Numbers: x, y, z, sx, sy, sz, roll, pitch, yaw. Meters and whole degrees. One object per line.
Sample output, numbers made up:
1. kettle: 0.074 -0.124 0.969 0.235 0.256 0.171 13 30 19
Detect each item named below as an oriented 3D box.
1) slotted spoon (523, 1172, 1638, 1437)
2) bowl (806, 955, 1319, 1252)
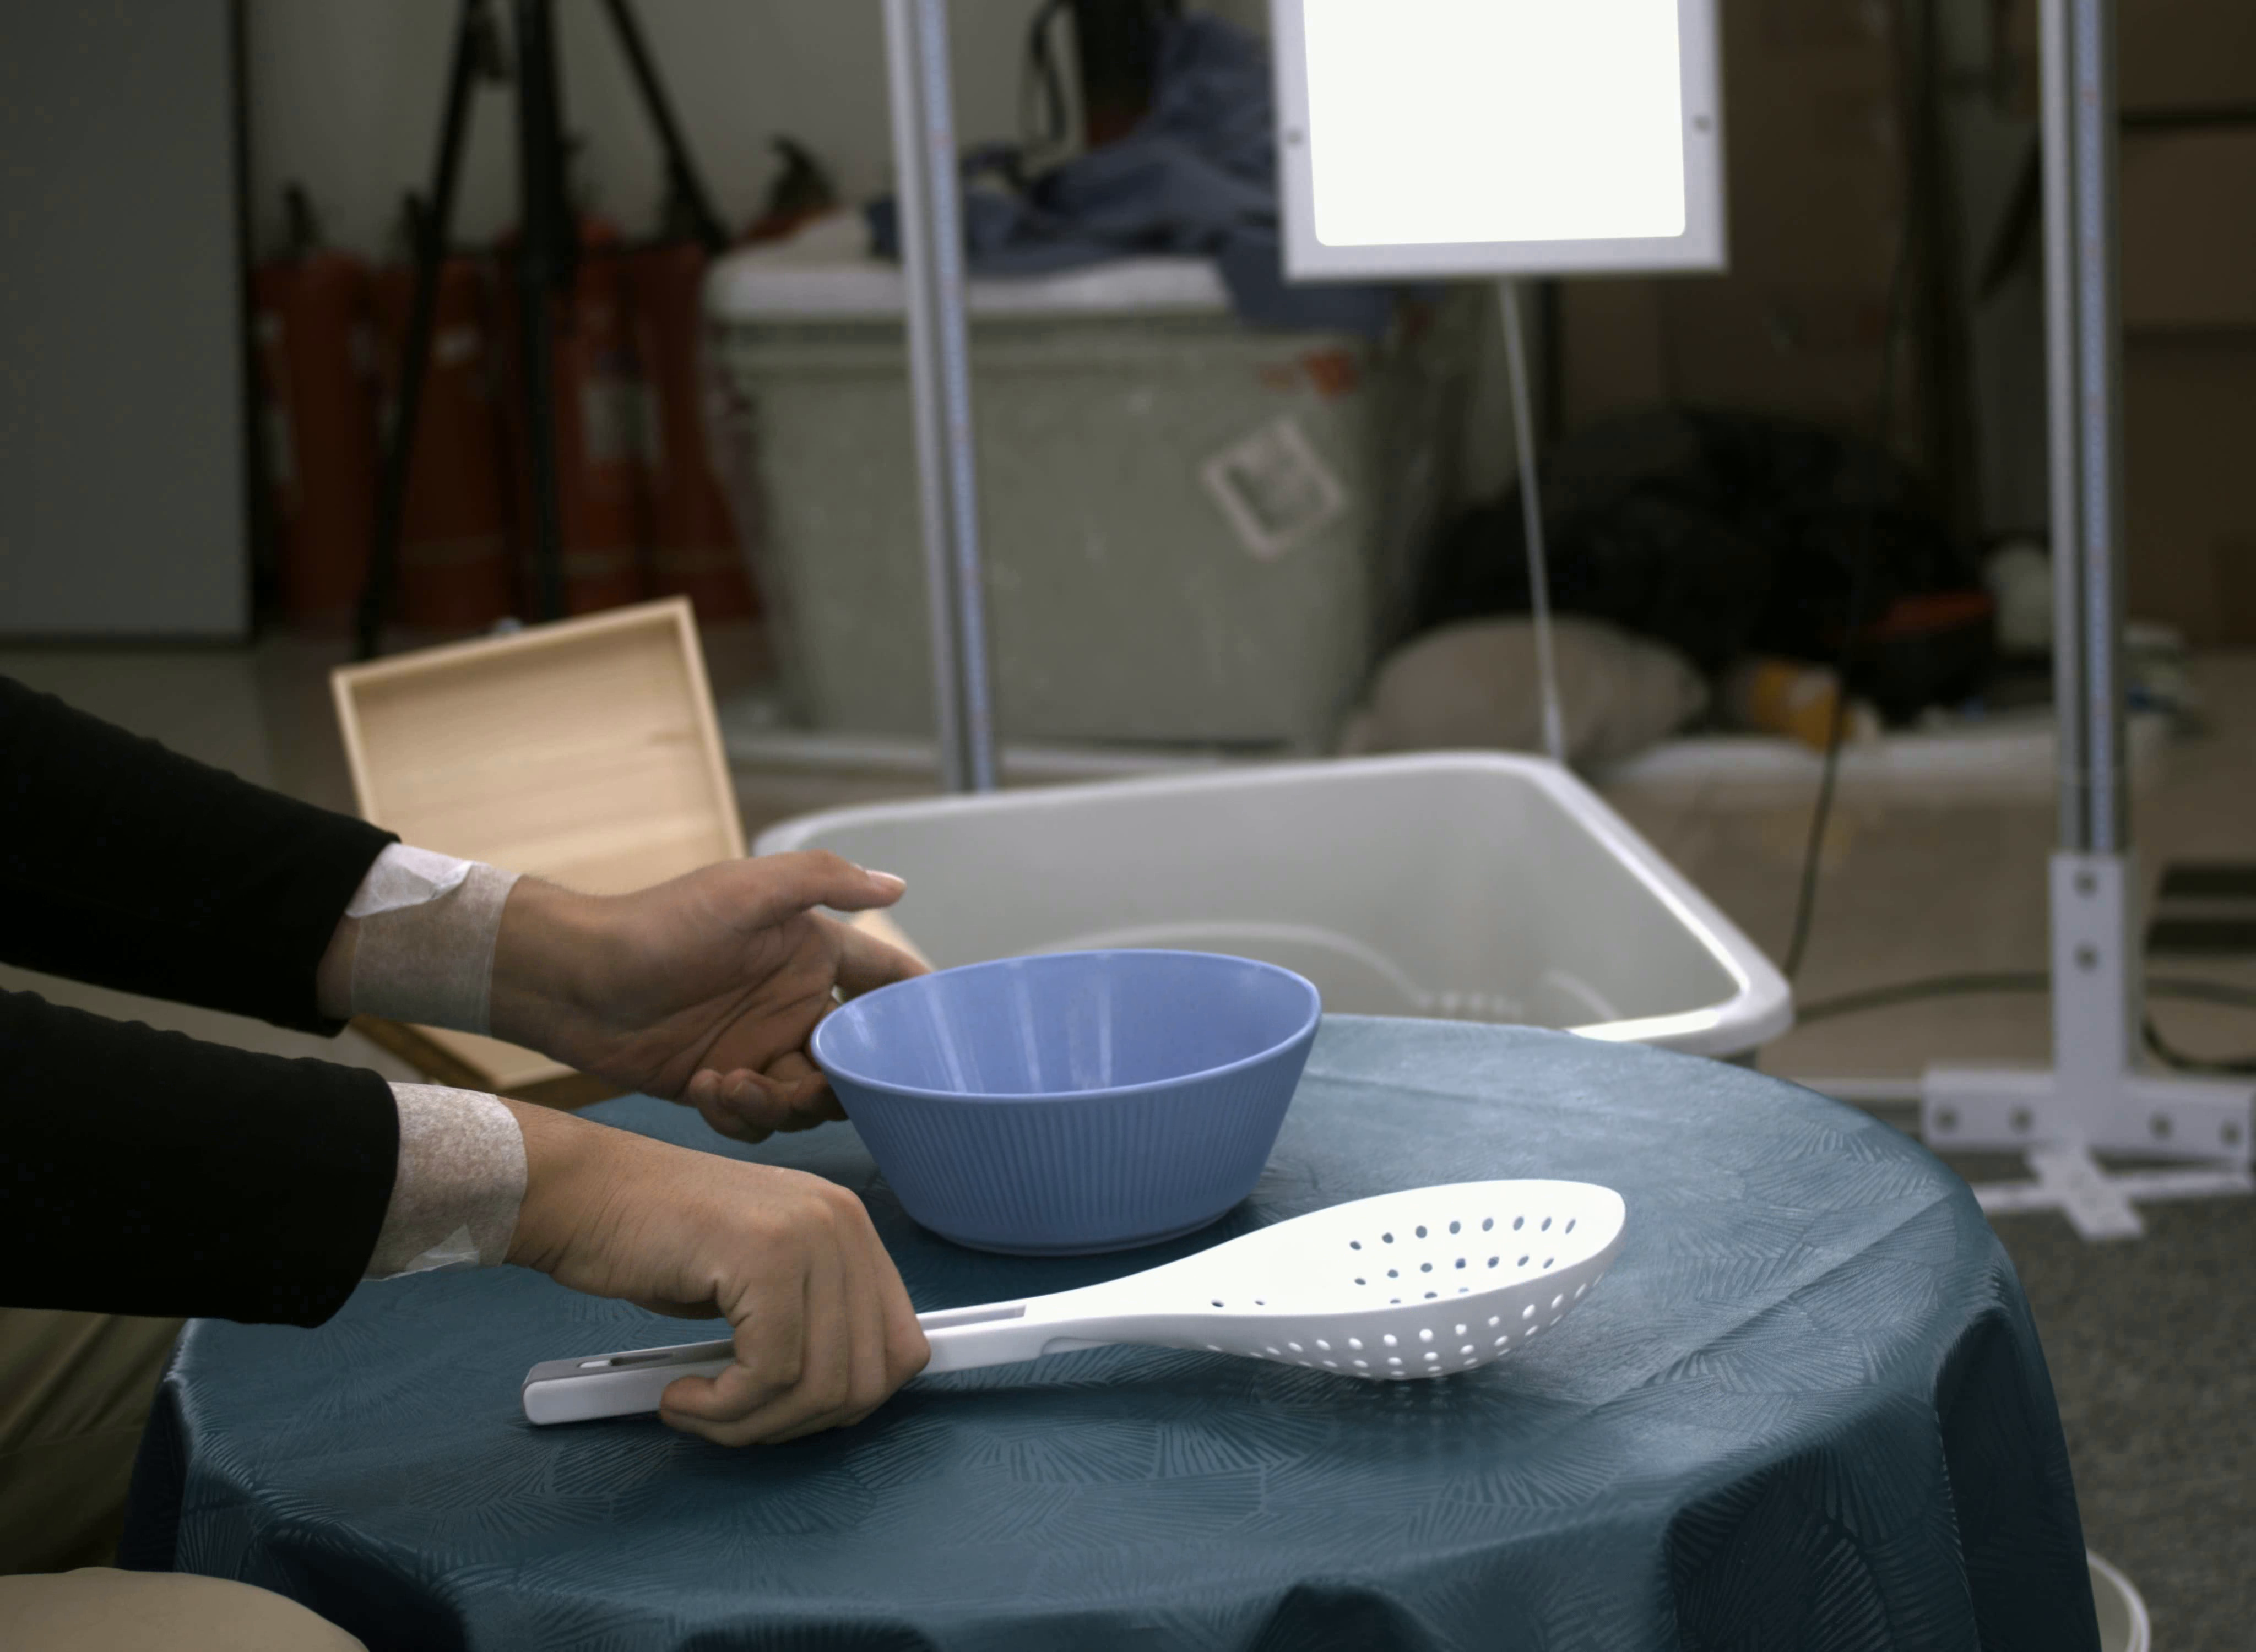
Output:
1. slotted spoon: -0.015 0.153 1.702 0.350 0.046 0.135 -5 12 5
2. bowl: -0.019 0.097 1.878 0.175 0.070 0.176 -6 13 0
